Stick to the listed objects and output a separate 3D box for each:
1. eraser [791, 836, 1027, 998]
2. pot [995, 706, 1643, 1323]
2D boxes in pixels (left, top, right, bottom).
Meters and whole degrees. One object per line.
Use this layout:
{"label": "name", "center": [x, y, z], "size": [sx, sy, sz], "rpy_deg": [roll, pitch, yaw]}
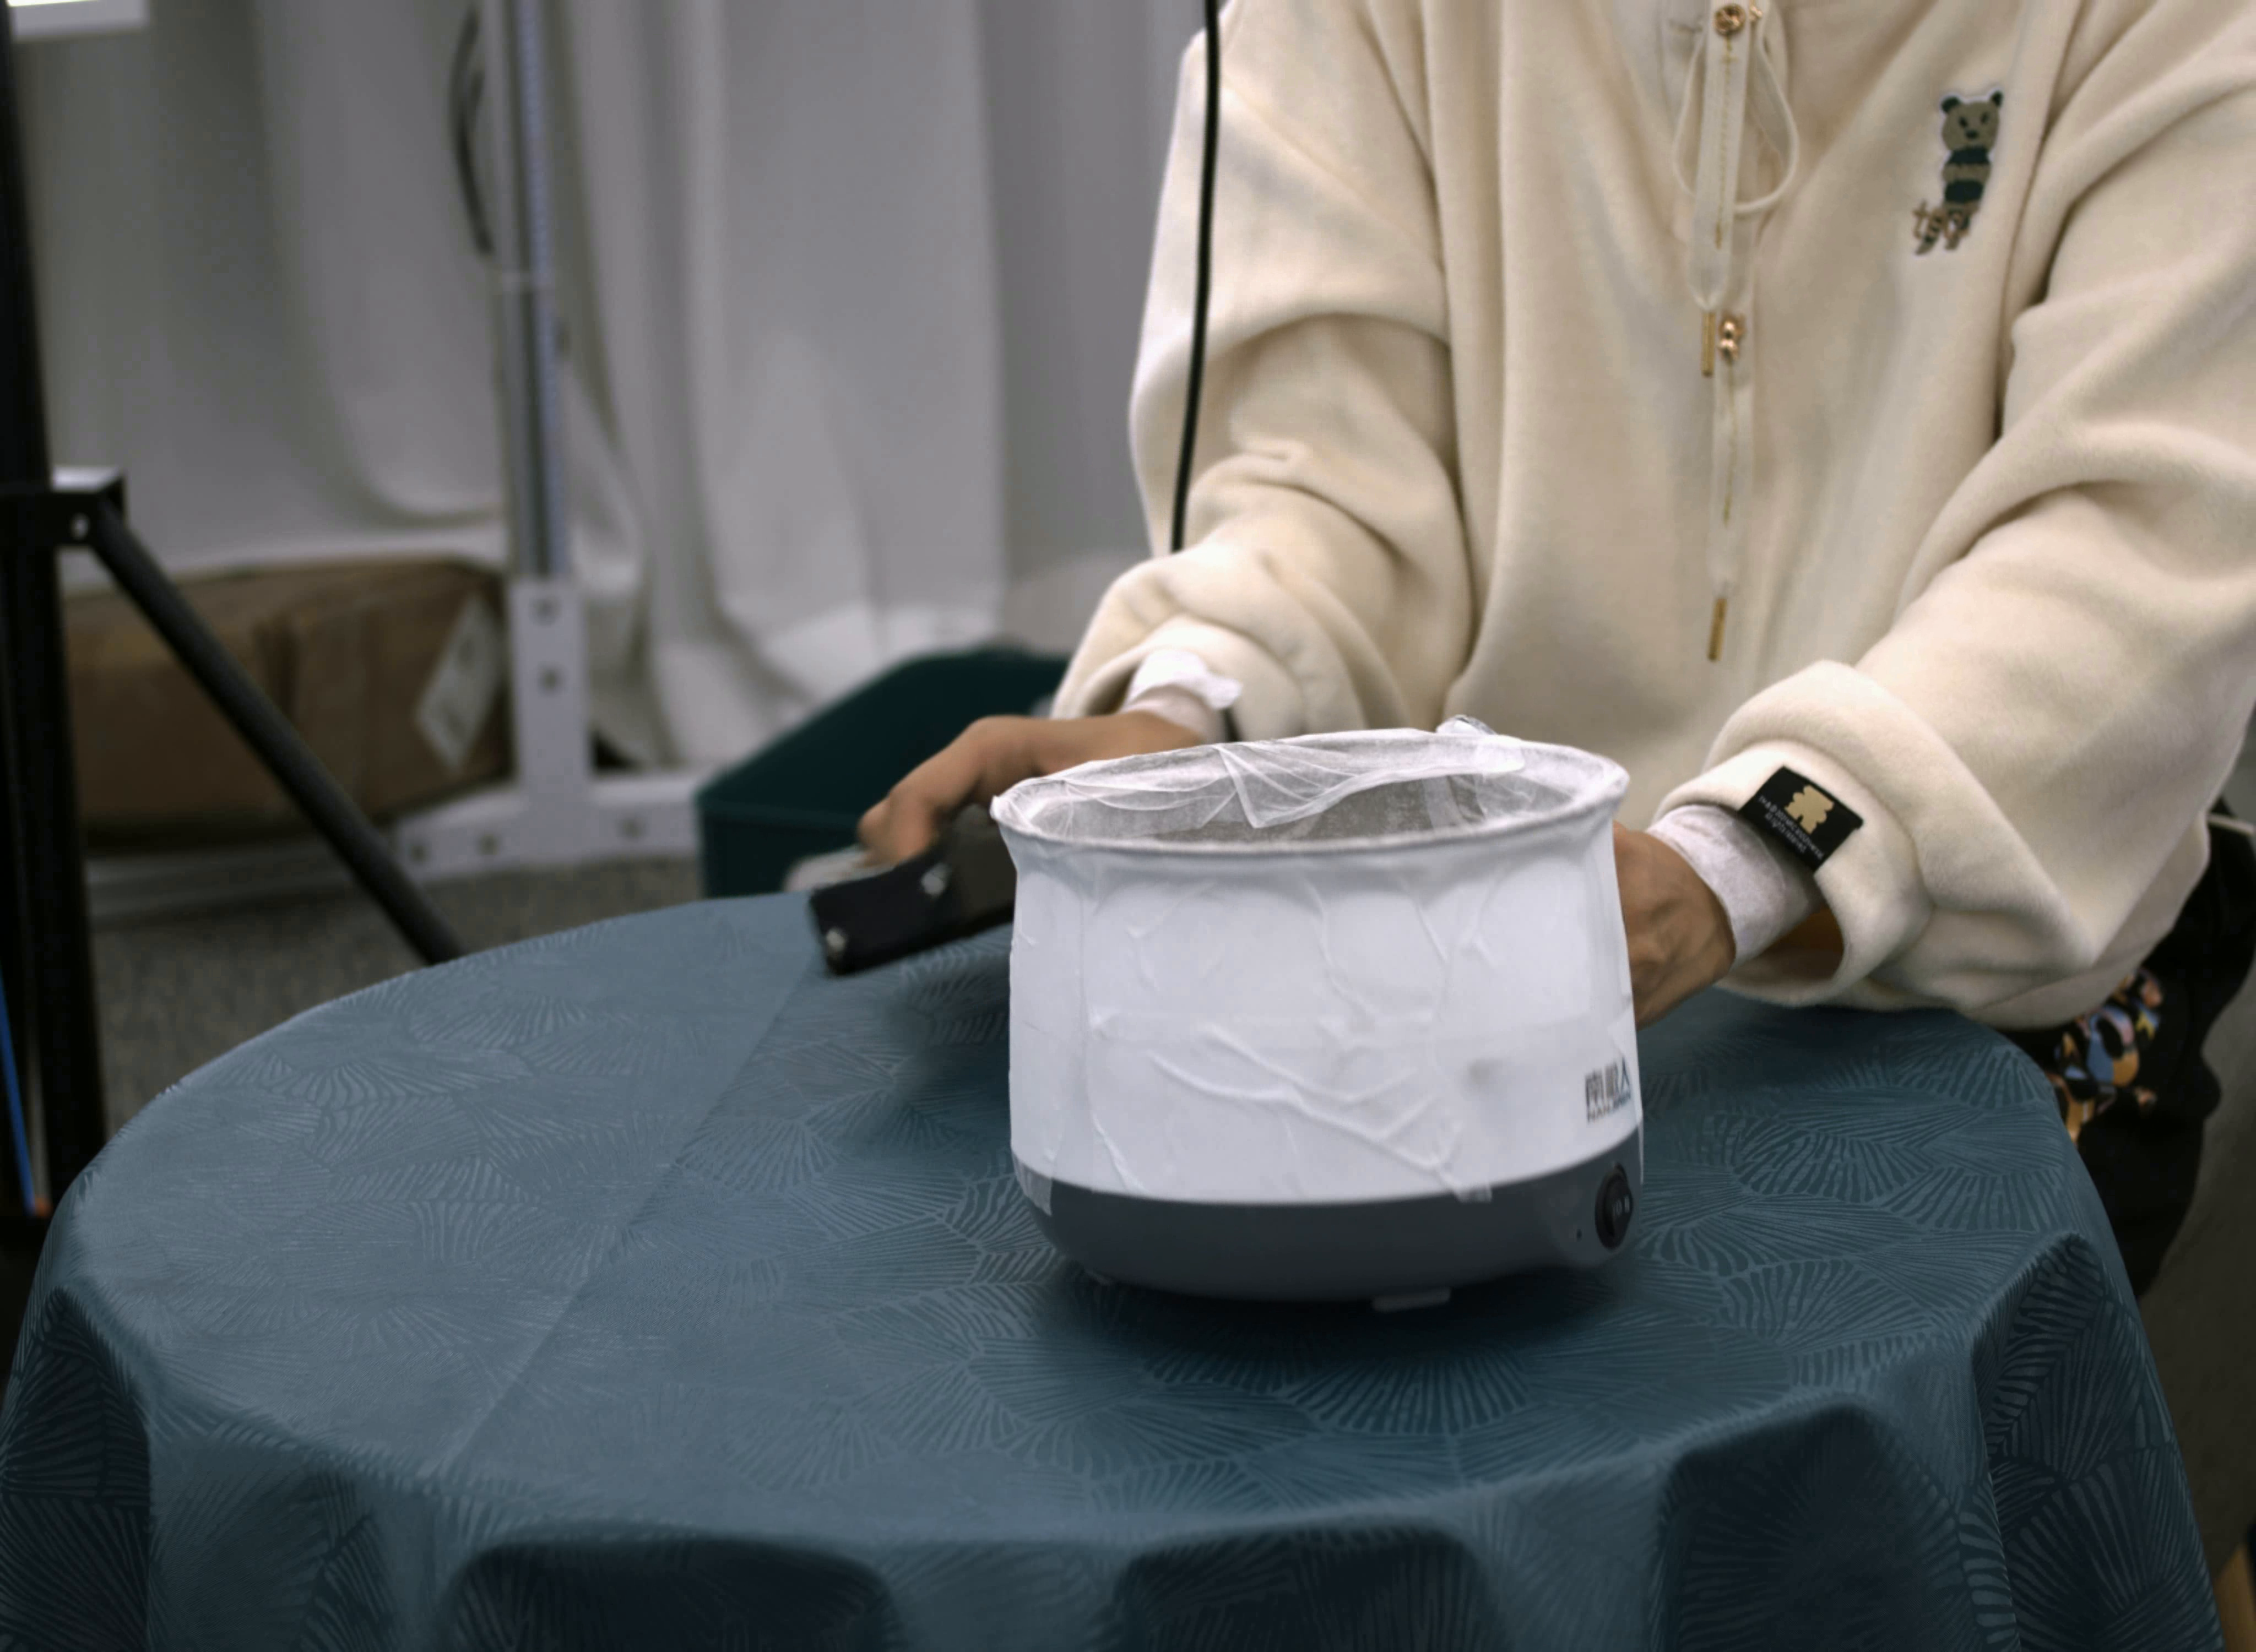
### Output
{"label": "eraser", "center": [-0.055, 0.026, 1.675], "size": [0.054, 0.030, 0.123], "rpy_deg": [-18, 1, 24]}
{"label": "pot", "center": [0.066, 0.047, 1.494], "size": [0.182, 0.137, 0.229], "rpy_deg": [3, 13, 28]}
